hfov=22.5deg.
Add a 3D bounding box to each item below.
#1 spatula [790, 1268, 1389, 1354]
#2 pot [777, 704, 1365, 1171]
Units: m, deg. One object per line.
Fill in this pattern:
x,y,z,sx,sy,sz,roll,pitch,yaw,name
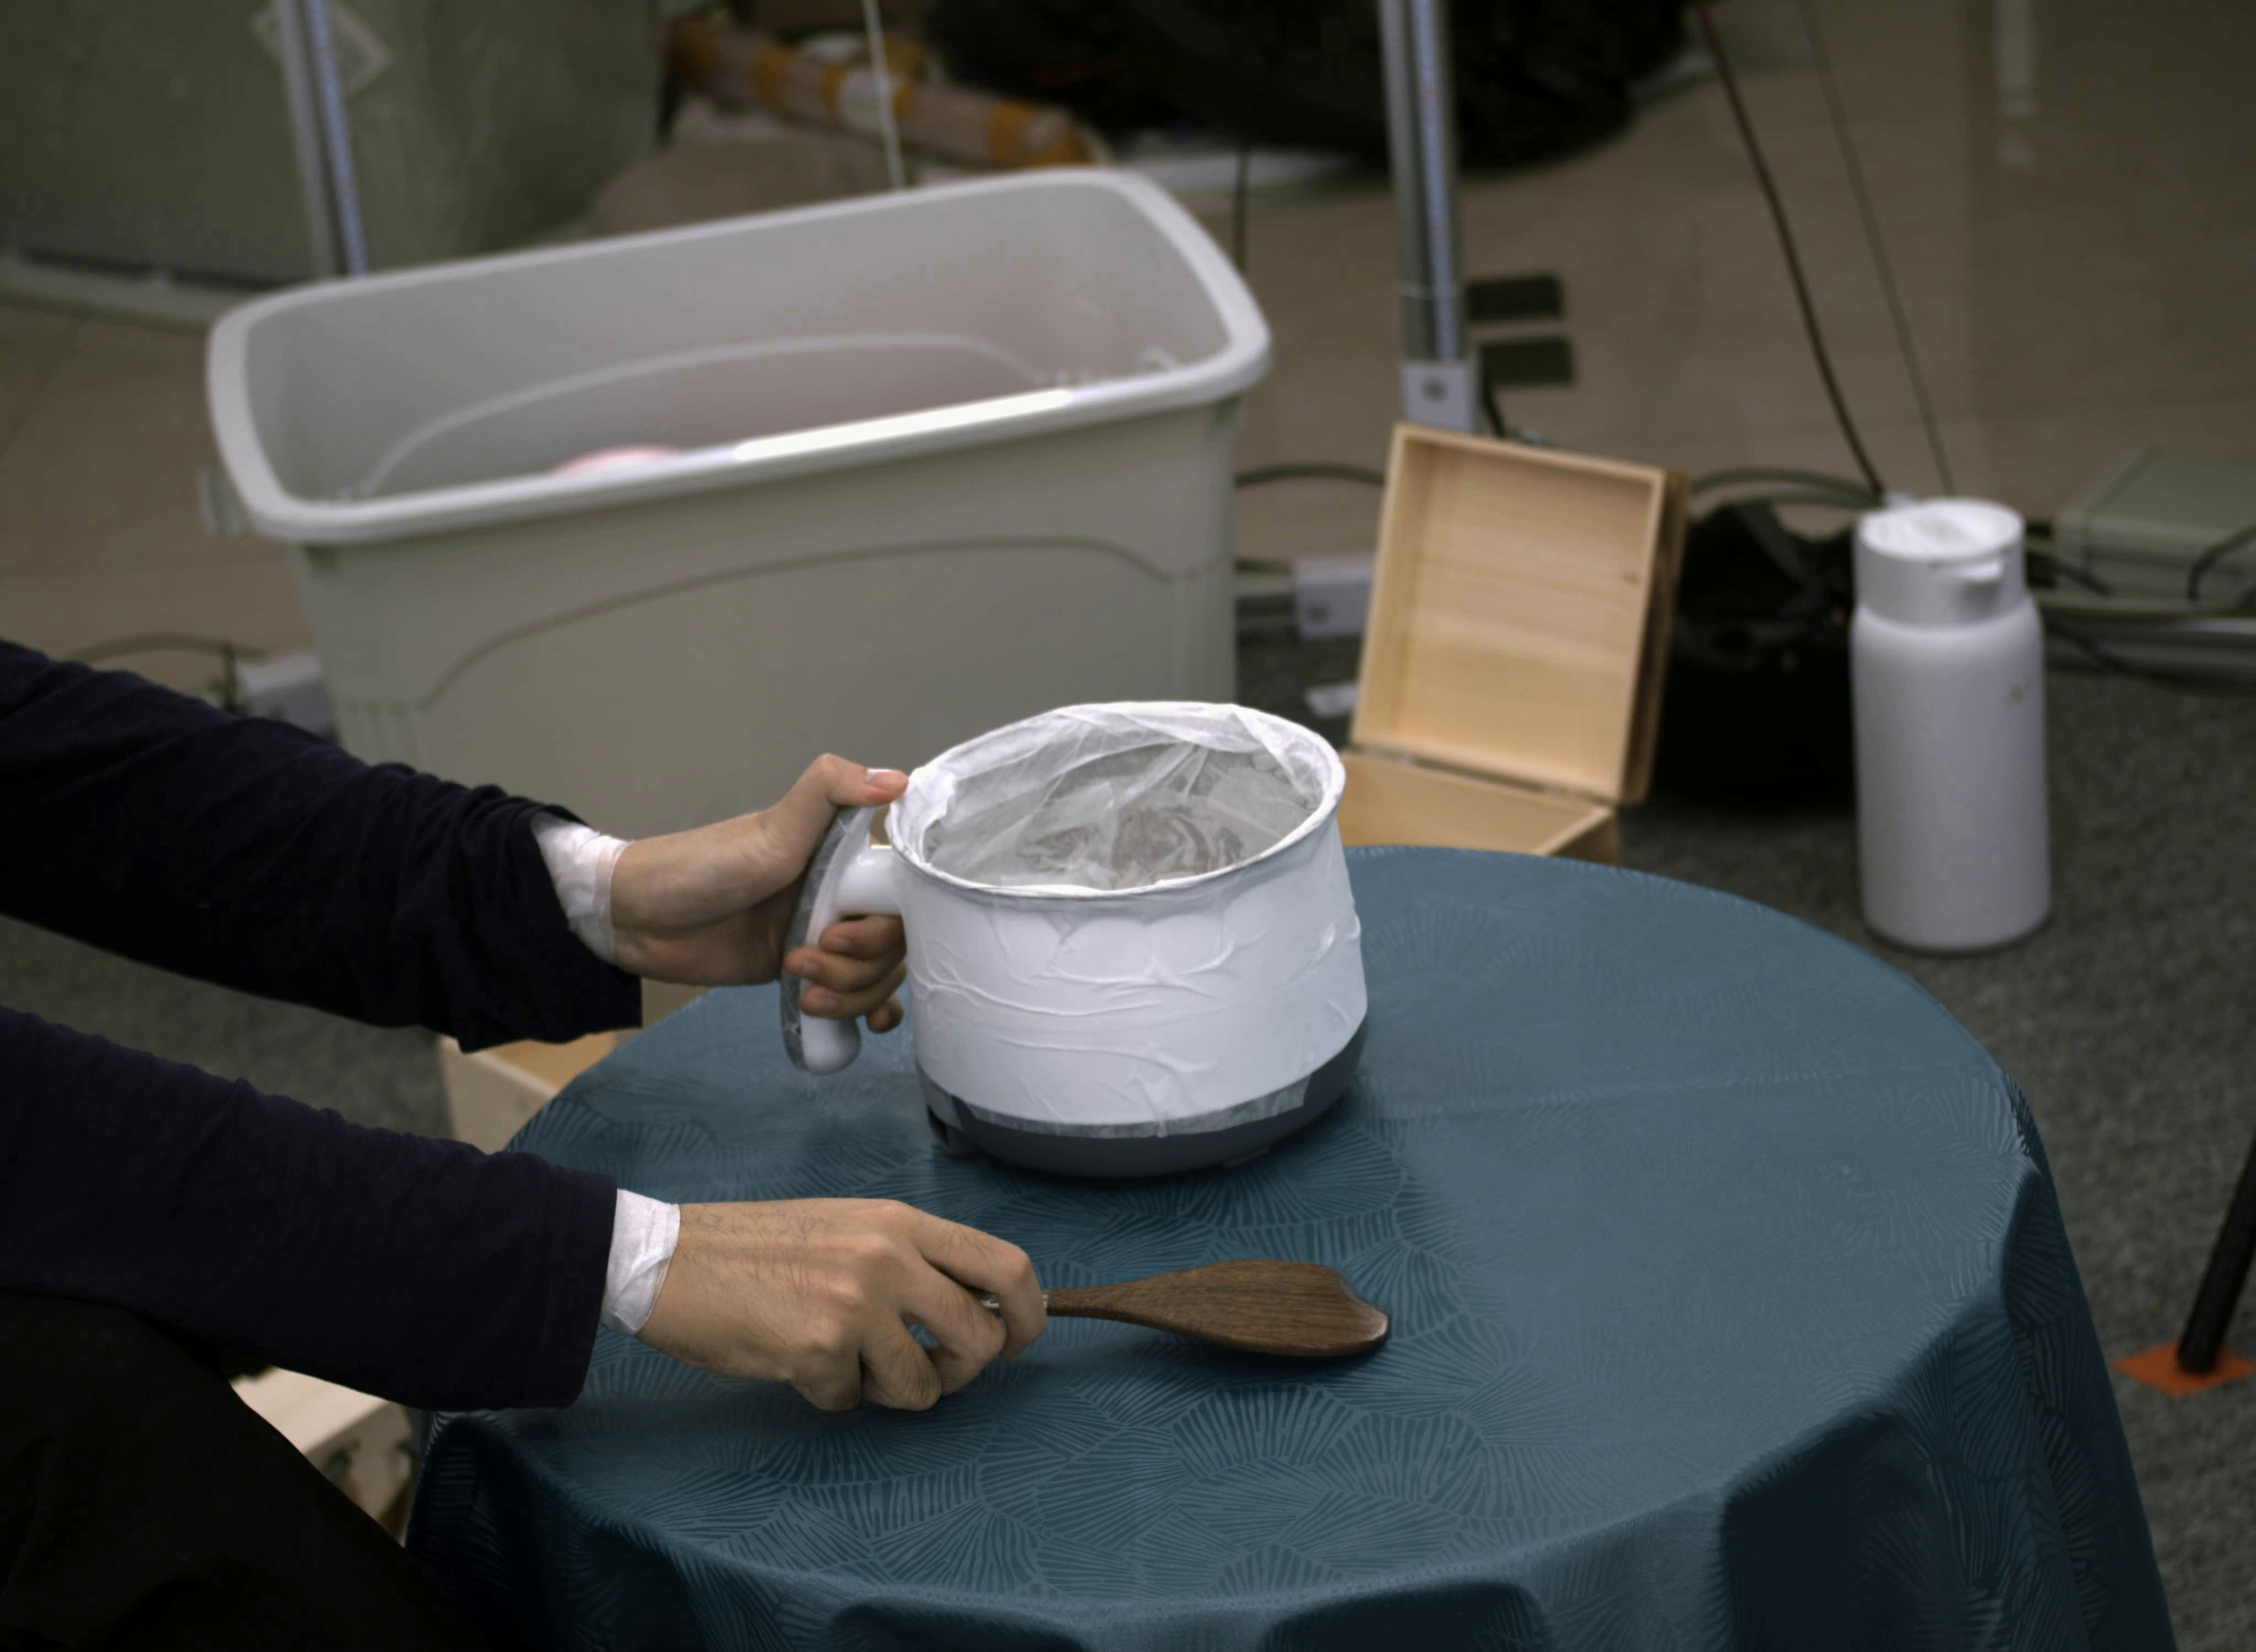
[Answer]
-0.014,0.174,2.037,0.215,0.009,0.071,1,19,-1,spatula
-0.025,0.044,2.193,0.233,0.138,0.176,0,23,11,pot
